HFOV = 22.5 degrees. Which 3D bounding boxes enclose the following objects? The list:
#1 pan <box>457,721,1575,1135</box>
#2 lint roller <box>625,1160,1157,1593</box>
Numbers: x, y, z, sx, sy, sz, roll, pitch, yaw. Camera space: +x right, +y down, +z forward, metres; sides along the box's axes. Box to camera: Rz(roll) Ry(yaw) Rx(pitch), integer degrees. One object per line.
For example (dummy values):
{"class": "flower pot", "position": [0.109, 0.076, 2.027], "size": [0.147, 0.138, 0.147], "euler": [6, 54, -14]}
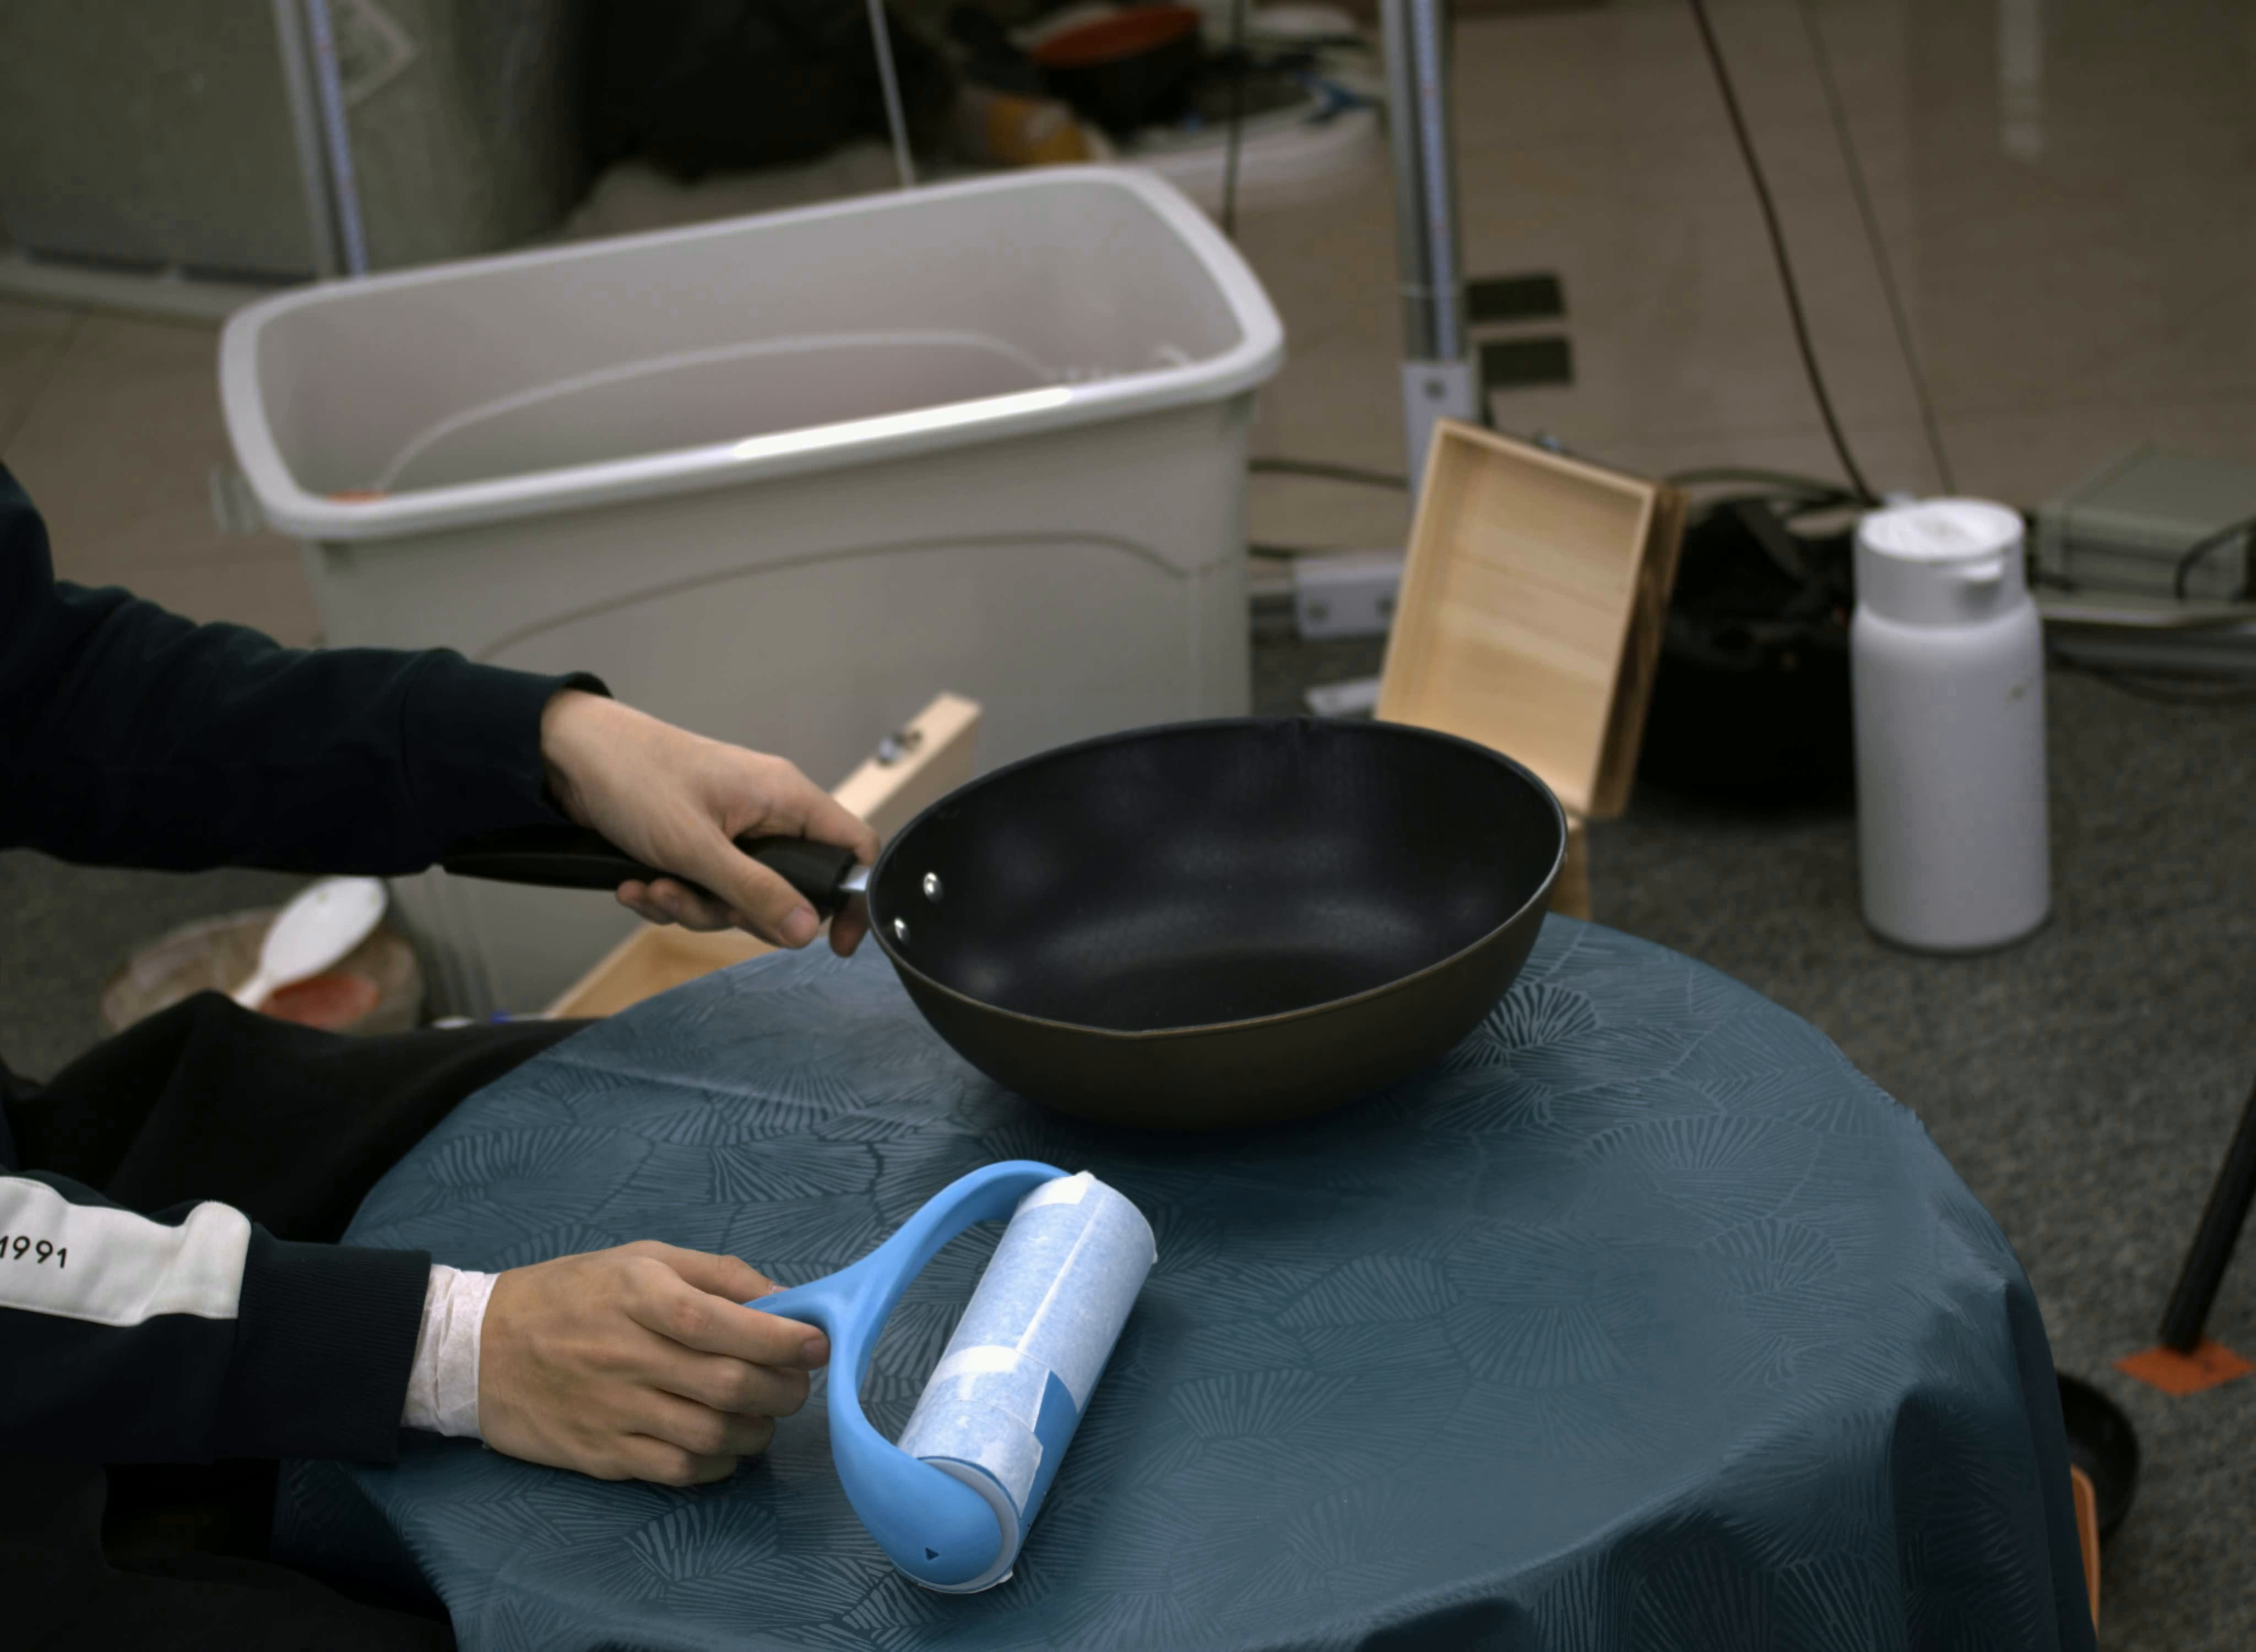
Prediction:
{"class": "pan", "position": [-0.048, 0.048, 2.254], "size": [0.462, 0.088, 0.284], "euler": [0, 25, 17]}
{"class": "lint roller", "position": [-0.093, 0.191, 1.989], "size": [0.180, 0.069, 0.225], "euler": [0, 28, 11]}
